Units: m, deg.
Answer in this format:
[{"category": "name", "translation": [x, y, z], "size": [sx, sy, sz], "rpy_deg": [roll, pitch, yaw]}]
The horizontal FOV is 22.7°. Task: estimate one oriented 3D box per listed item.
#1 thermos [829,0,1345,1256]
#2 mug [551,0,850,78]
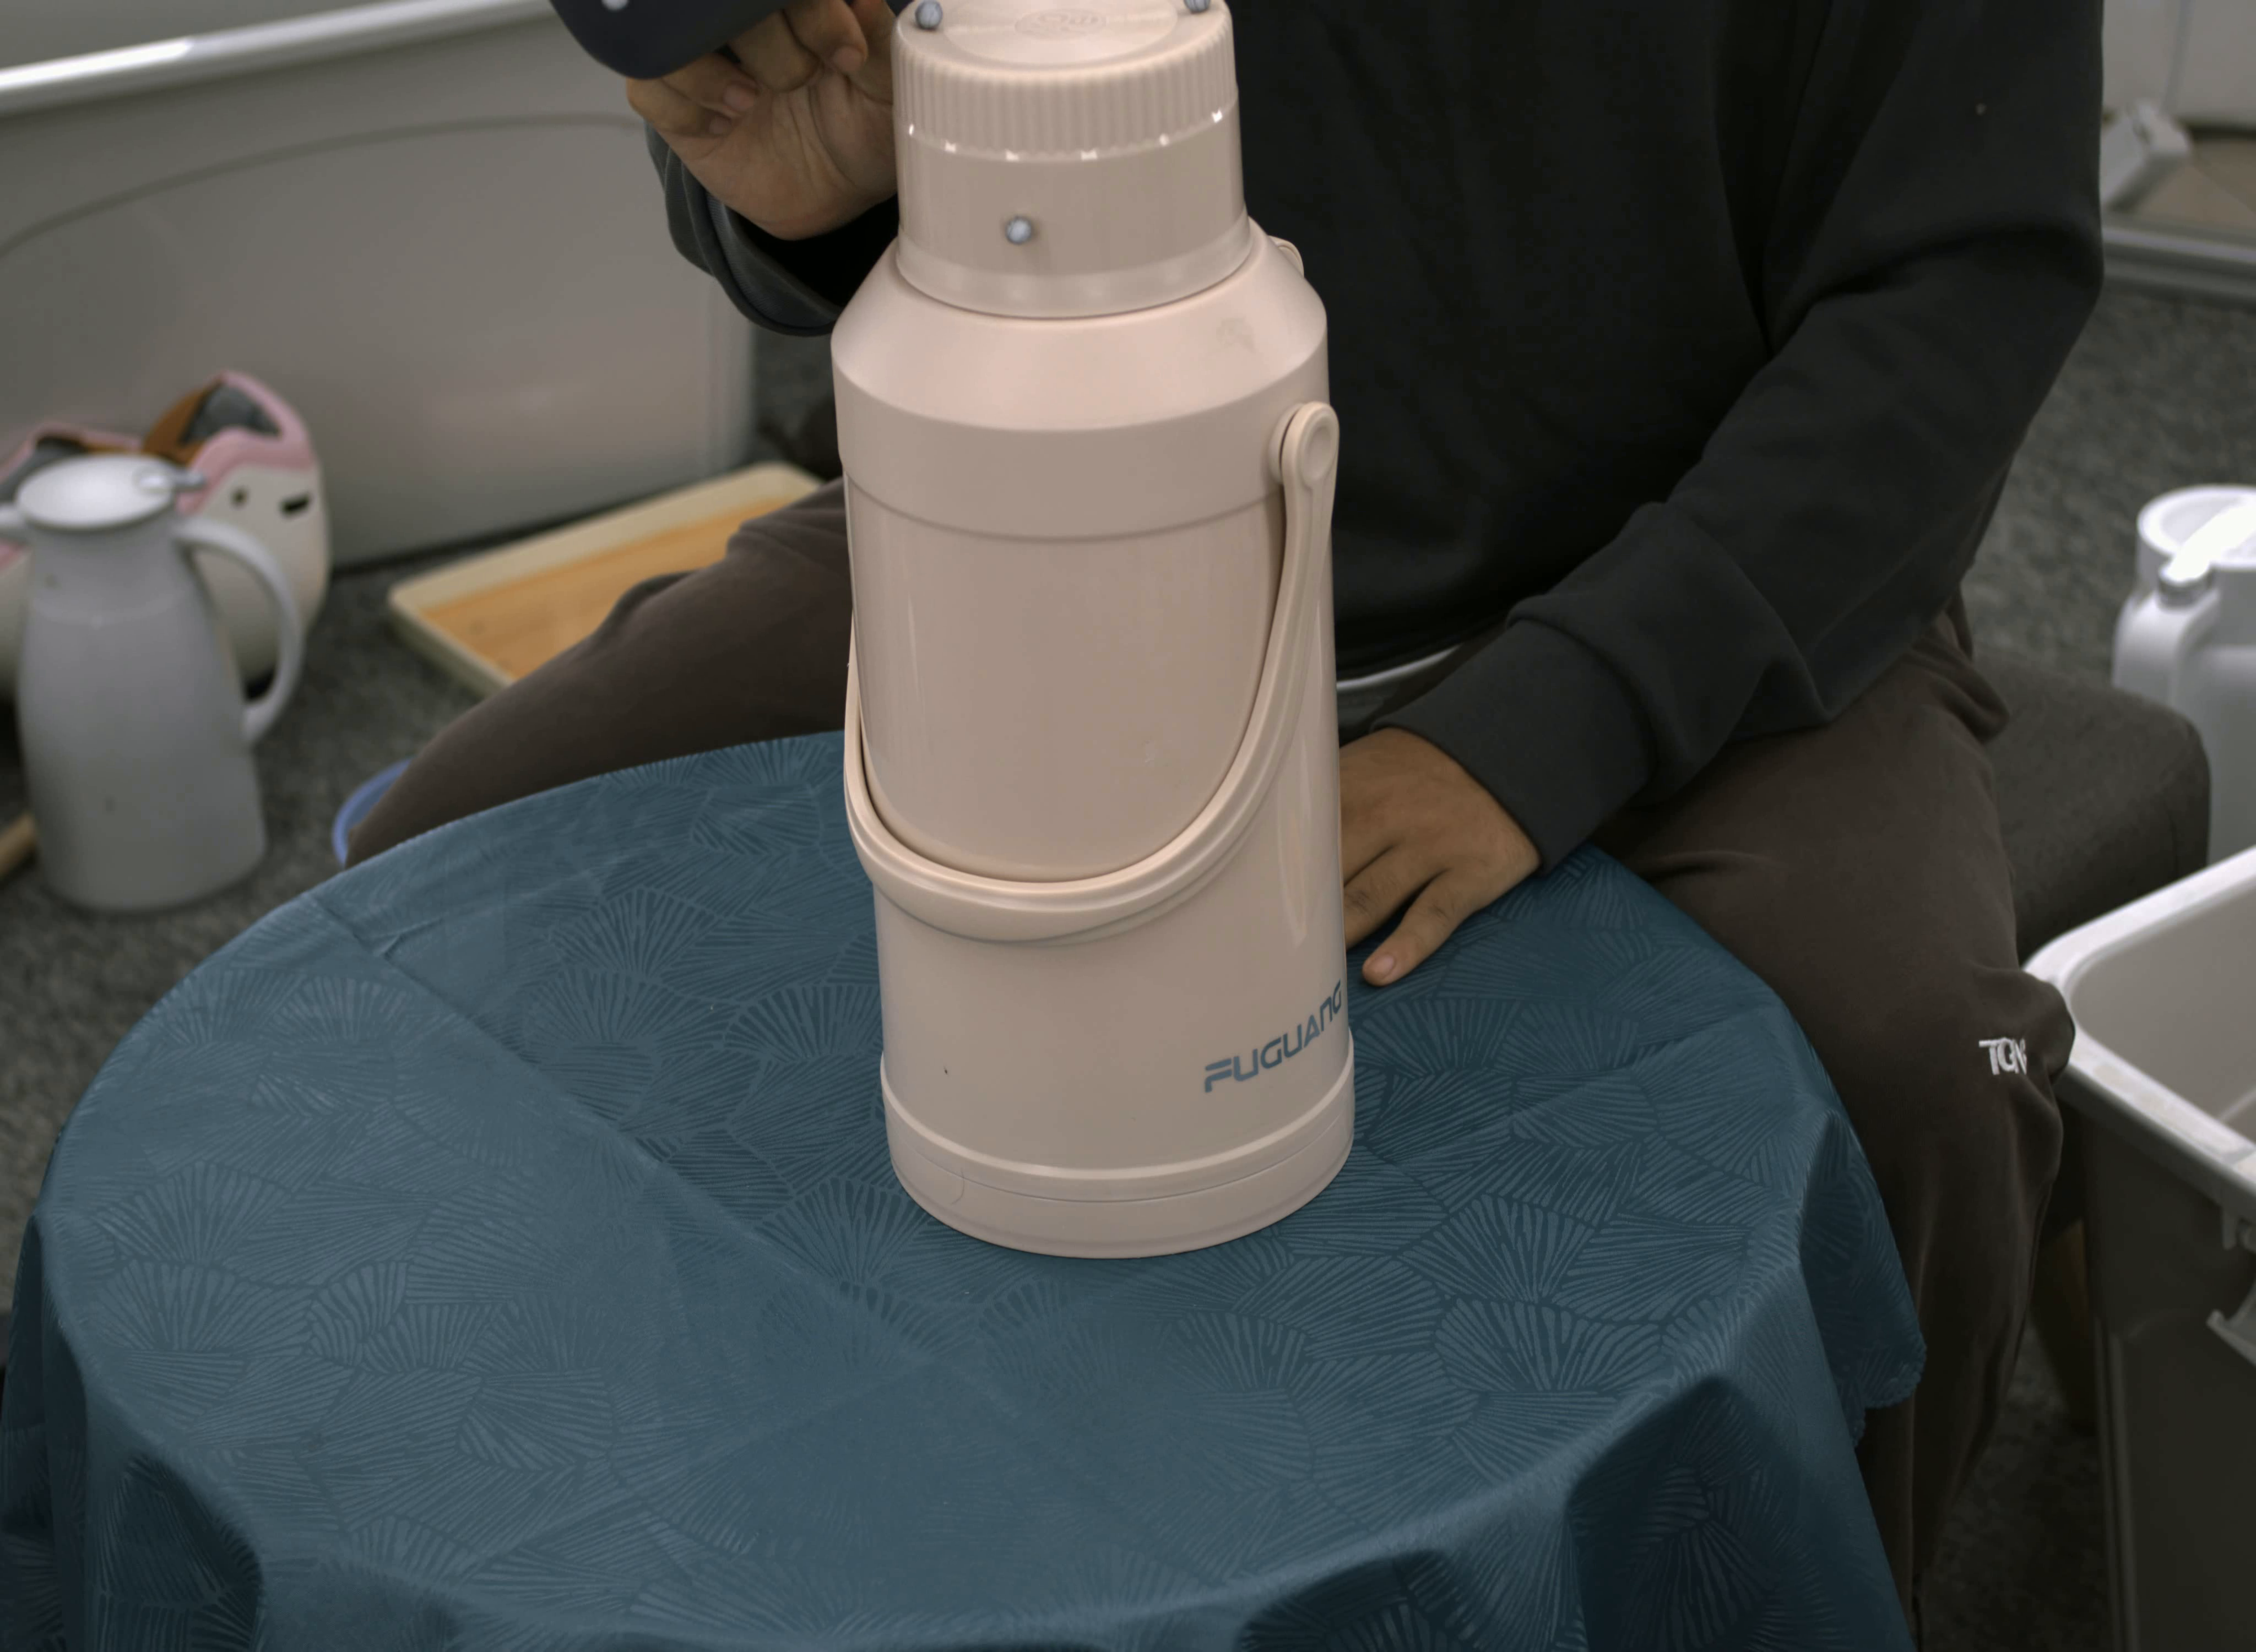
[{"category": "thermos", "translation": [-0.004, -0.077, 1.823], "size": [0.174, 0.402, 0.210], "rpy_deg": [13, 31, 30]}, {"category": "mug", "translation": [-0.129, -0.277, 1.727], "size": [0.089, 0.122, 0.095], "rpy_deg": [-25, 53, 12]}]
